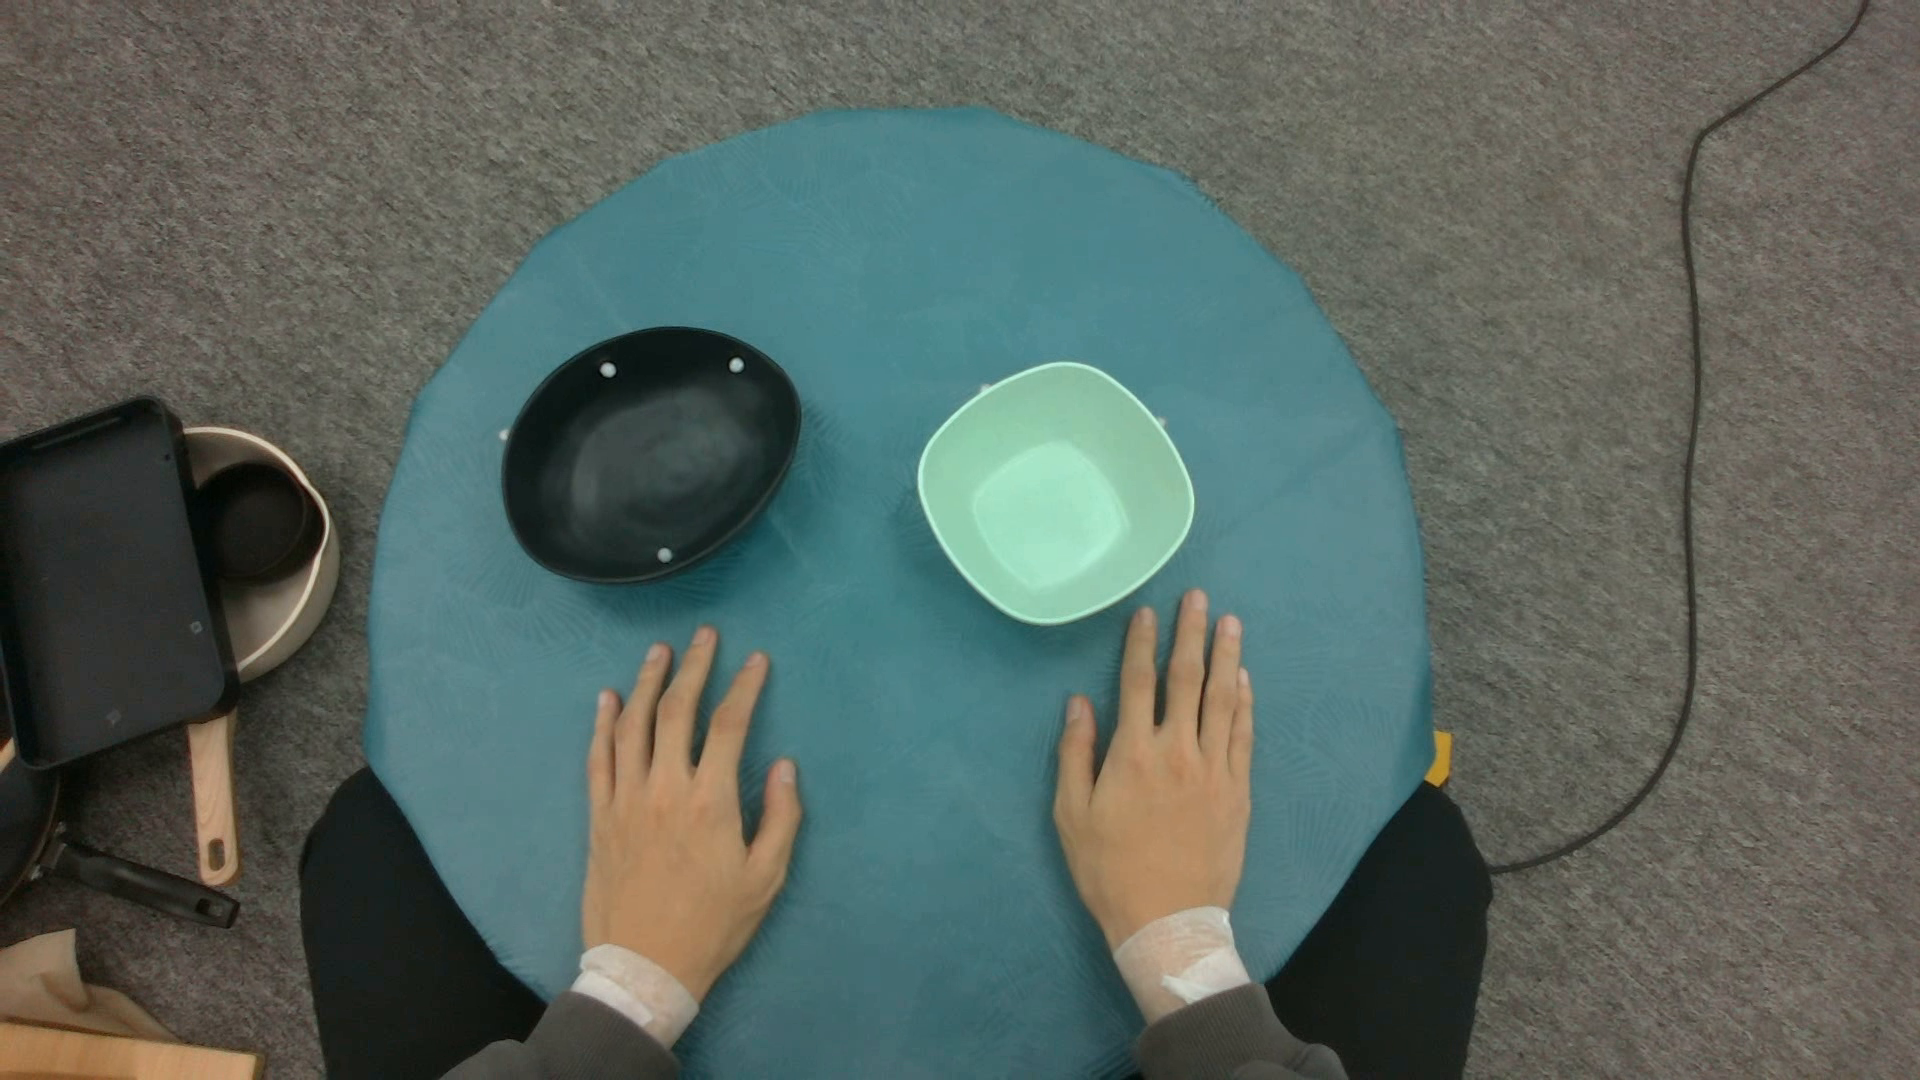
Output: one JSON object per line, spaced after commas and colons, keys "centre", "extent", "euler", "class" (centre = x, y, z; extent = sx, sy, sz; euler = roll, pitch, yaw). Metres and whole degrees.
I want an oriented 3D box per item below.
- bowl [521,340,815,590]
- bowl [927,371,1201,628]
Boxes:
{"centre": [-0.162, -0.038, 0.784], "extent": [0.170, 0.066, 0.137], "euler": [-36, 76, -12], "class": "bowl"}
{"centre": [0.057, -0.016, 0.780], "extent": [0.151, 0.058, 0.152], "euler": [0, 71, 1], "class": "bowl"}
